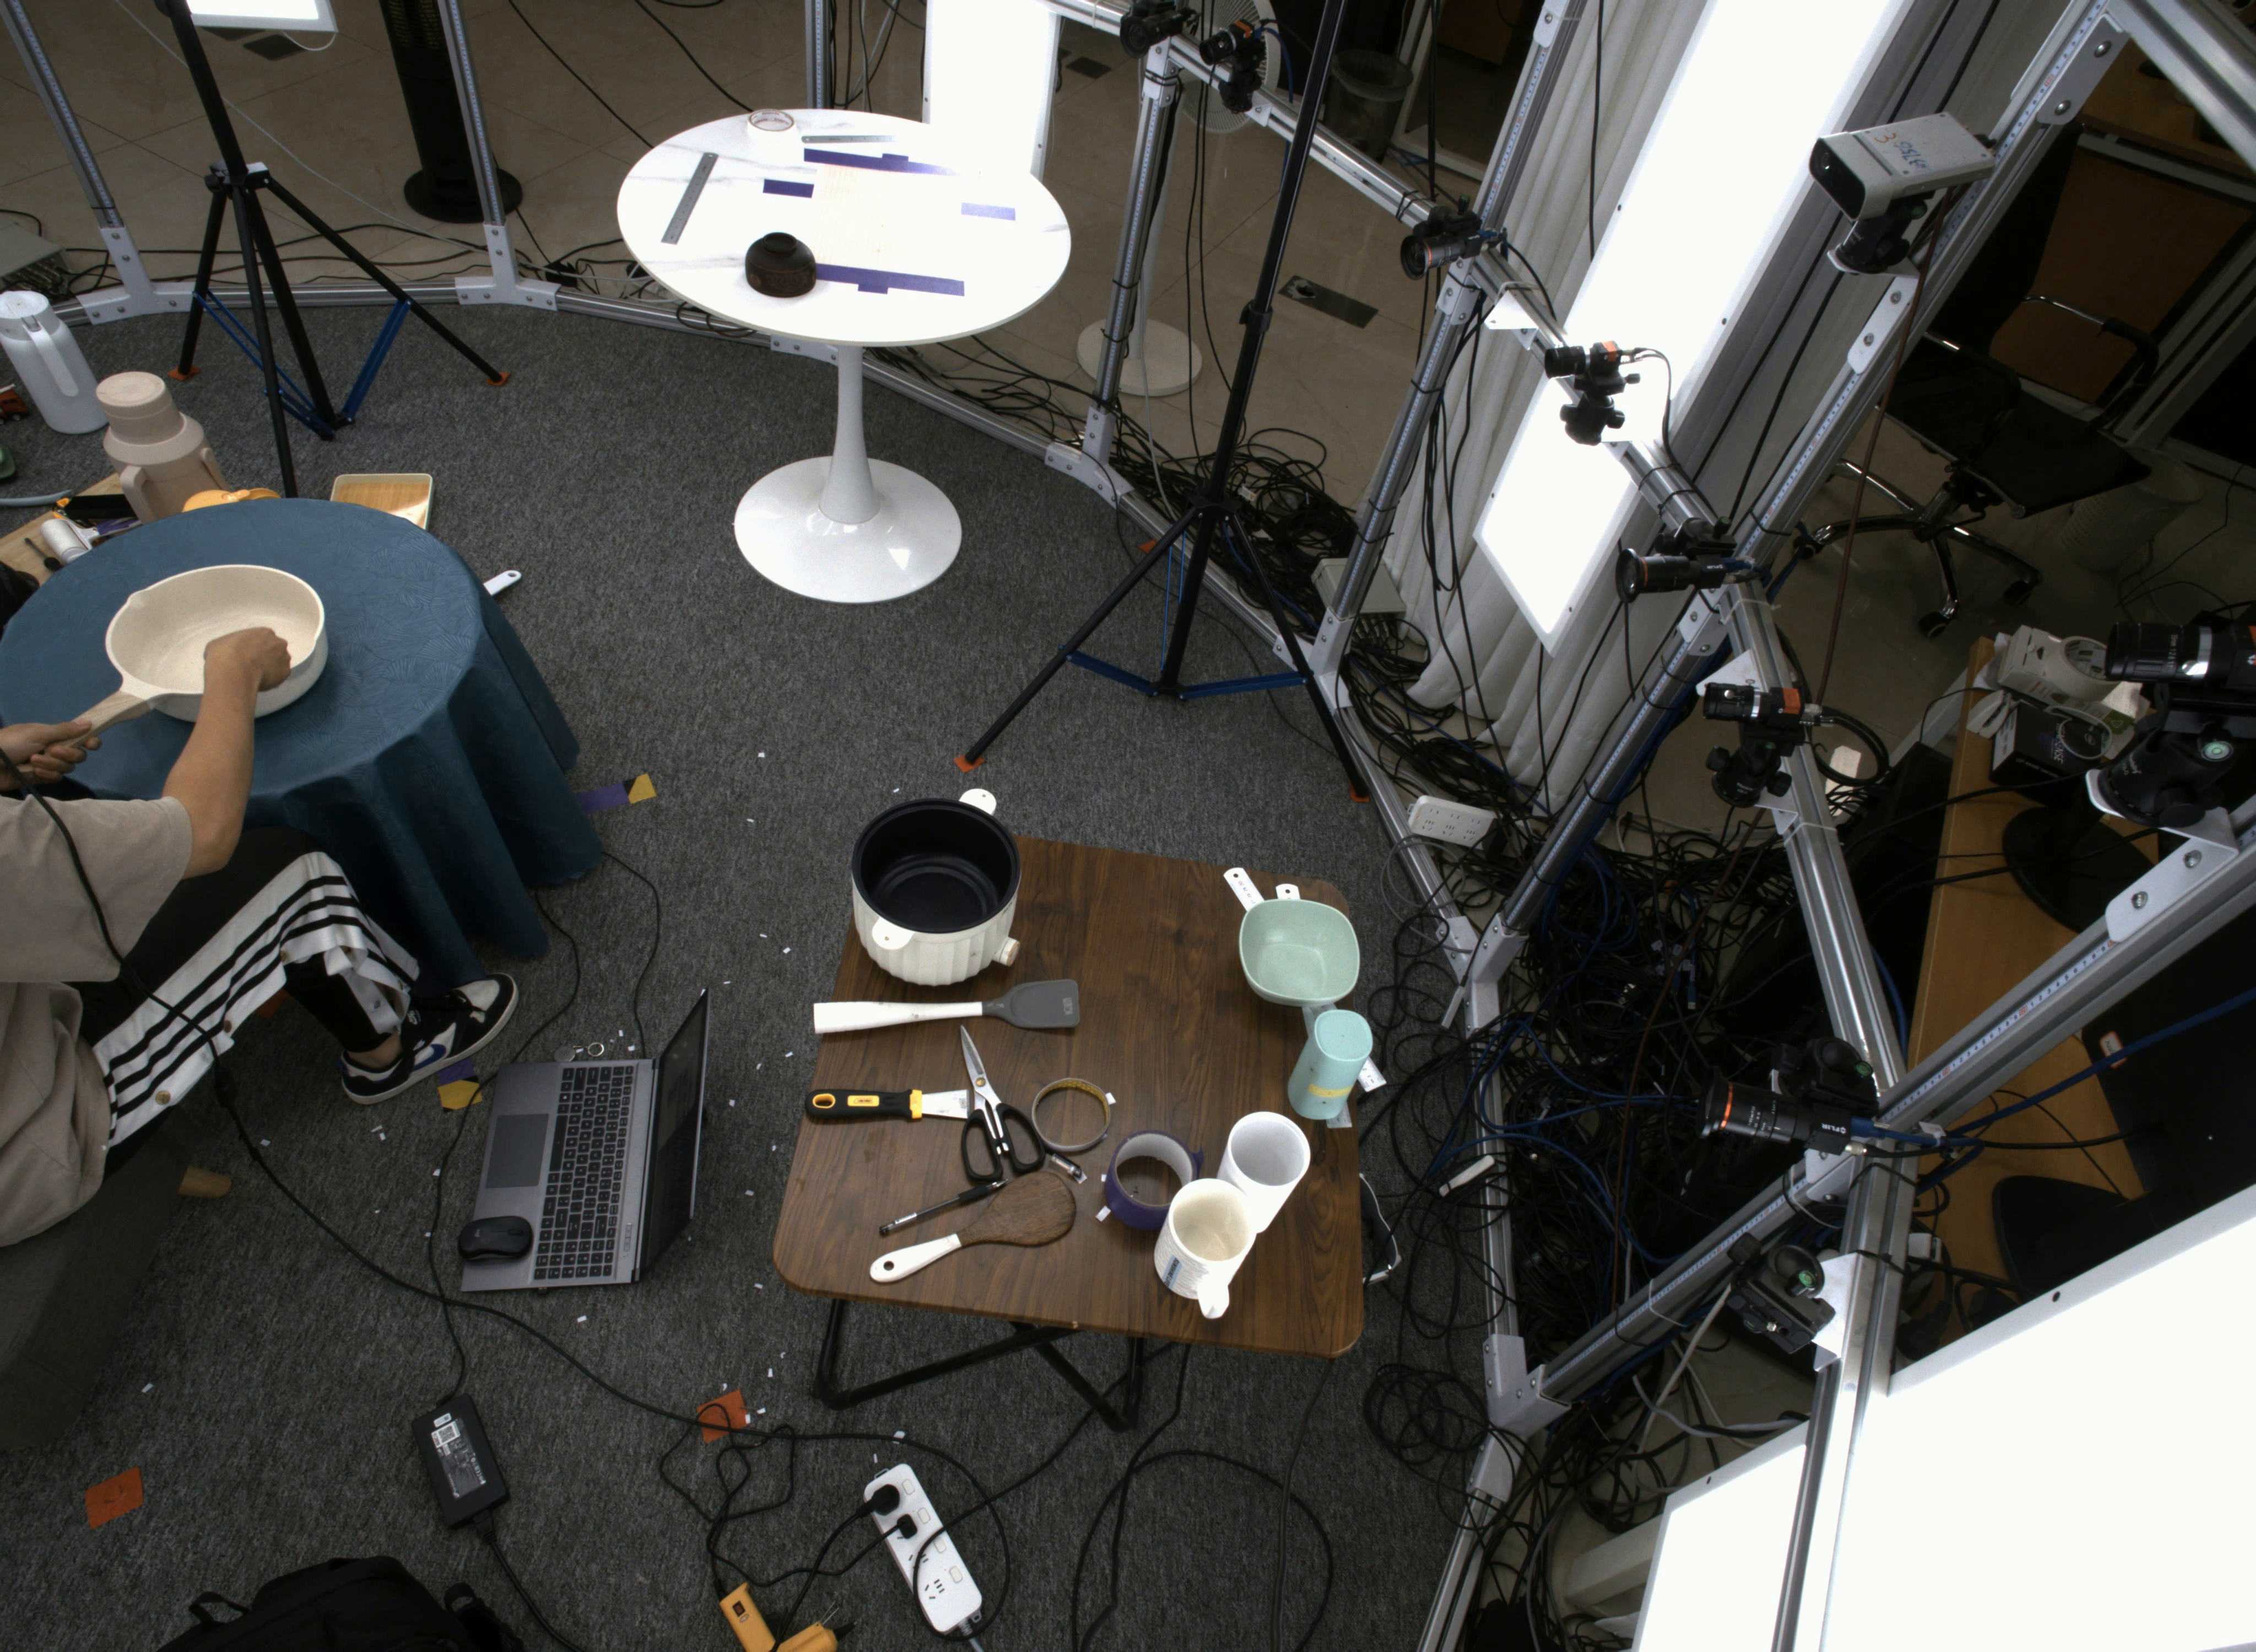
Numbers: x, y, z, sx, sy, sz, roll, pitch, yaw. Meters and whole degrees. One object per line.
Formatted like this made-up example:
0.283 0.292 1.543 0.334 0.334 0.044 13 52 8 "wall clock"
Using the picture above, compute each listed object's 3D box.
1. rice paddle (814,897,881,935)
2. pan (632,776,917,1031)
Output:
-0.333 0.098 1.554 0.069 0.200 0.030 -12 99 -22 "rice paddle"
-0.441 0.110 1.581 0.259 0.104 0.434 33 52 10 "pan"
